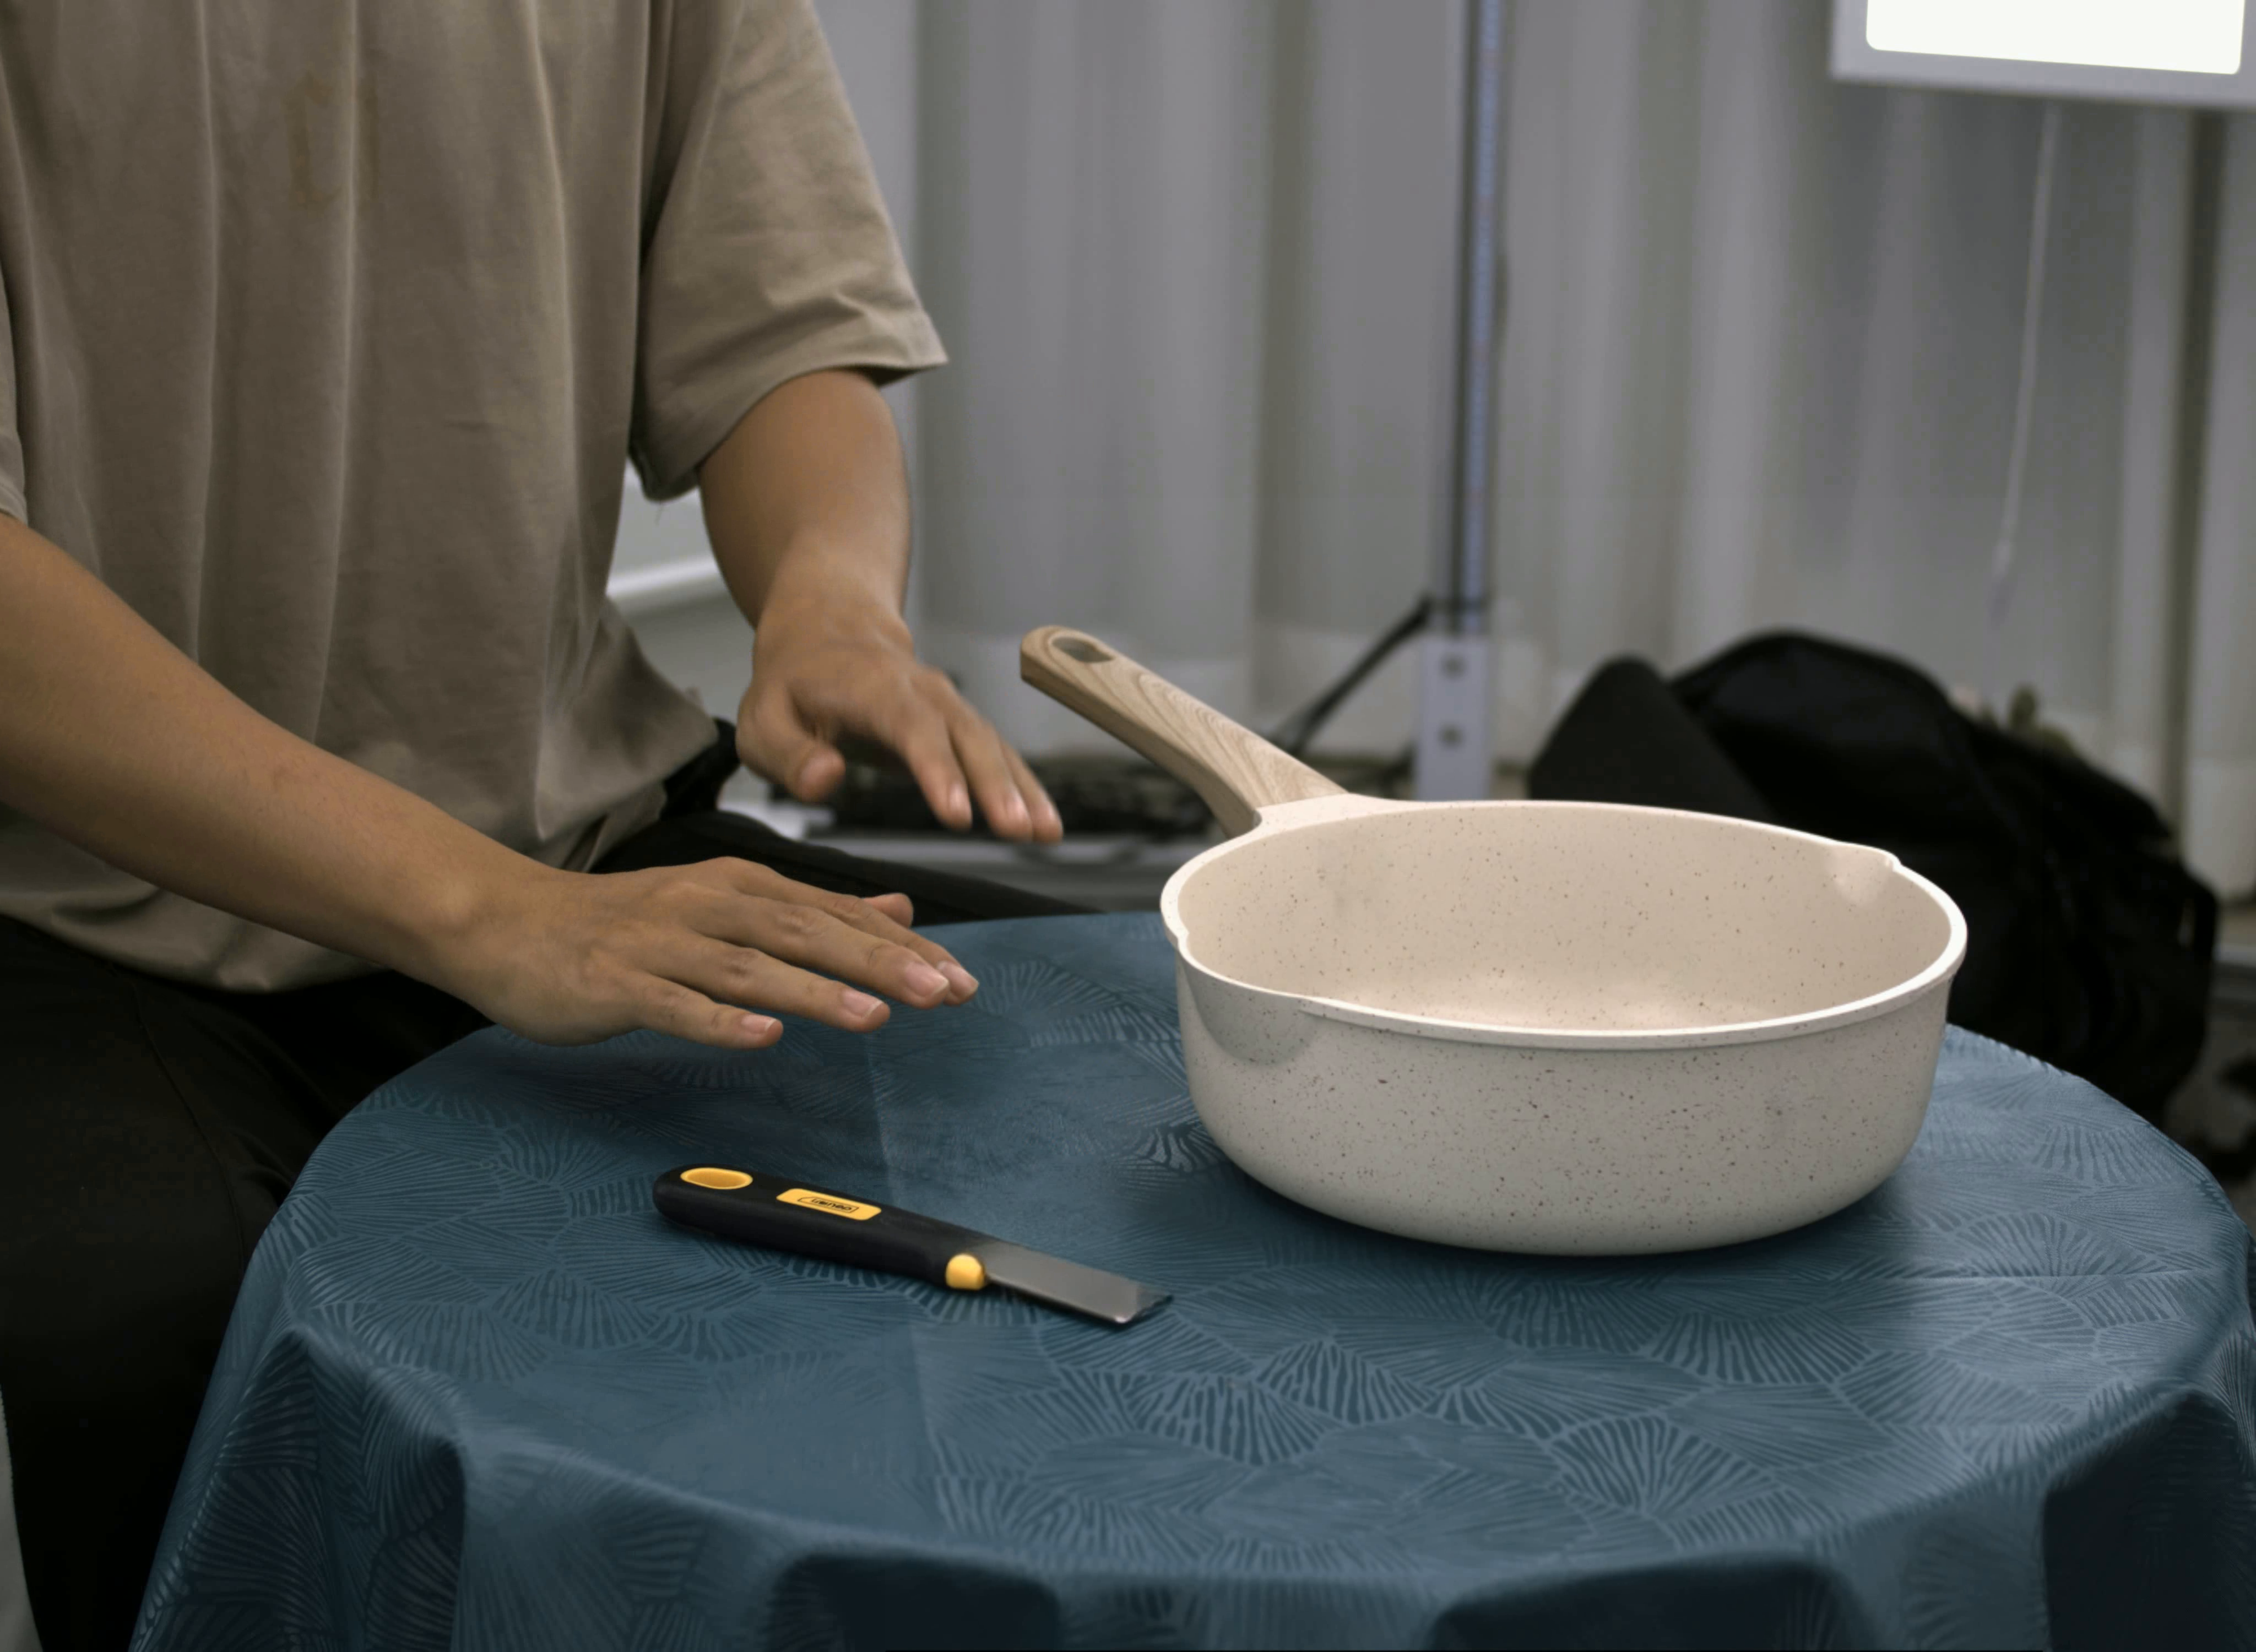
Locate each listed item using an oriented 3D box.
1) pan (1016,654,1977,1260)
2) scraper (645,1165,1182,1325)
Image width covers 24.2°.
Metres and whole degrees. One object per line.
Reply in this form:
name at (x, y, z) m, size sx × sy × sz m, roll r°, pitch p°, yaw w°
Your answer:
pan at (0.090, 0.036, 1.727) m, size 0.264 × 0.103 × 0.429 m, roll -12°, pitch 20°, yaw -31°
scraper at (-0.067, 0.124, 1.554) m, size 0.169 × 0.015 × 0.039 m, roll 11°, pitch 22°, yaw 23°
